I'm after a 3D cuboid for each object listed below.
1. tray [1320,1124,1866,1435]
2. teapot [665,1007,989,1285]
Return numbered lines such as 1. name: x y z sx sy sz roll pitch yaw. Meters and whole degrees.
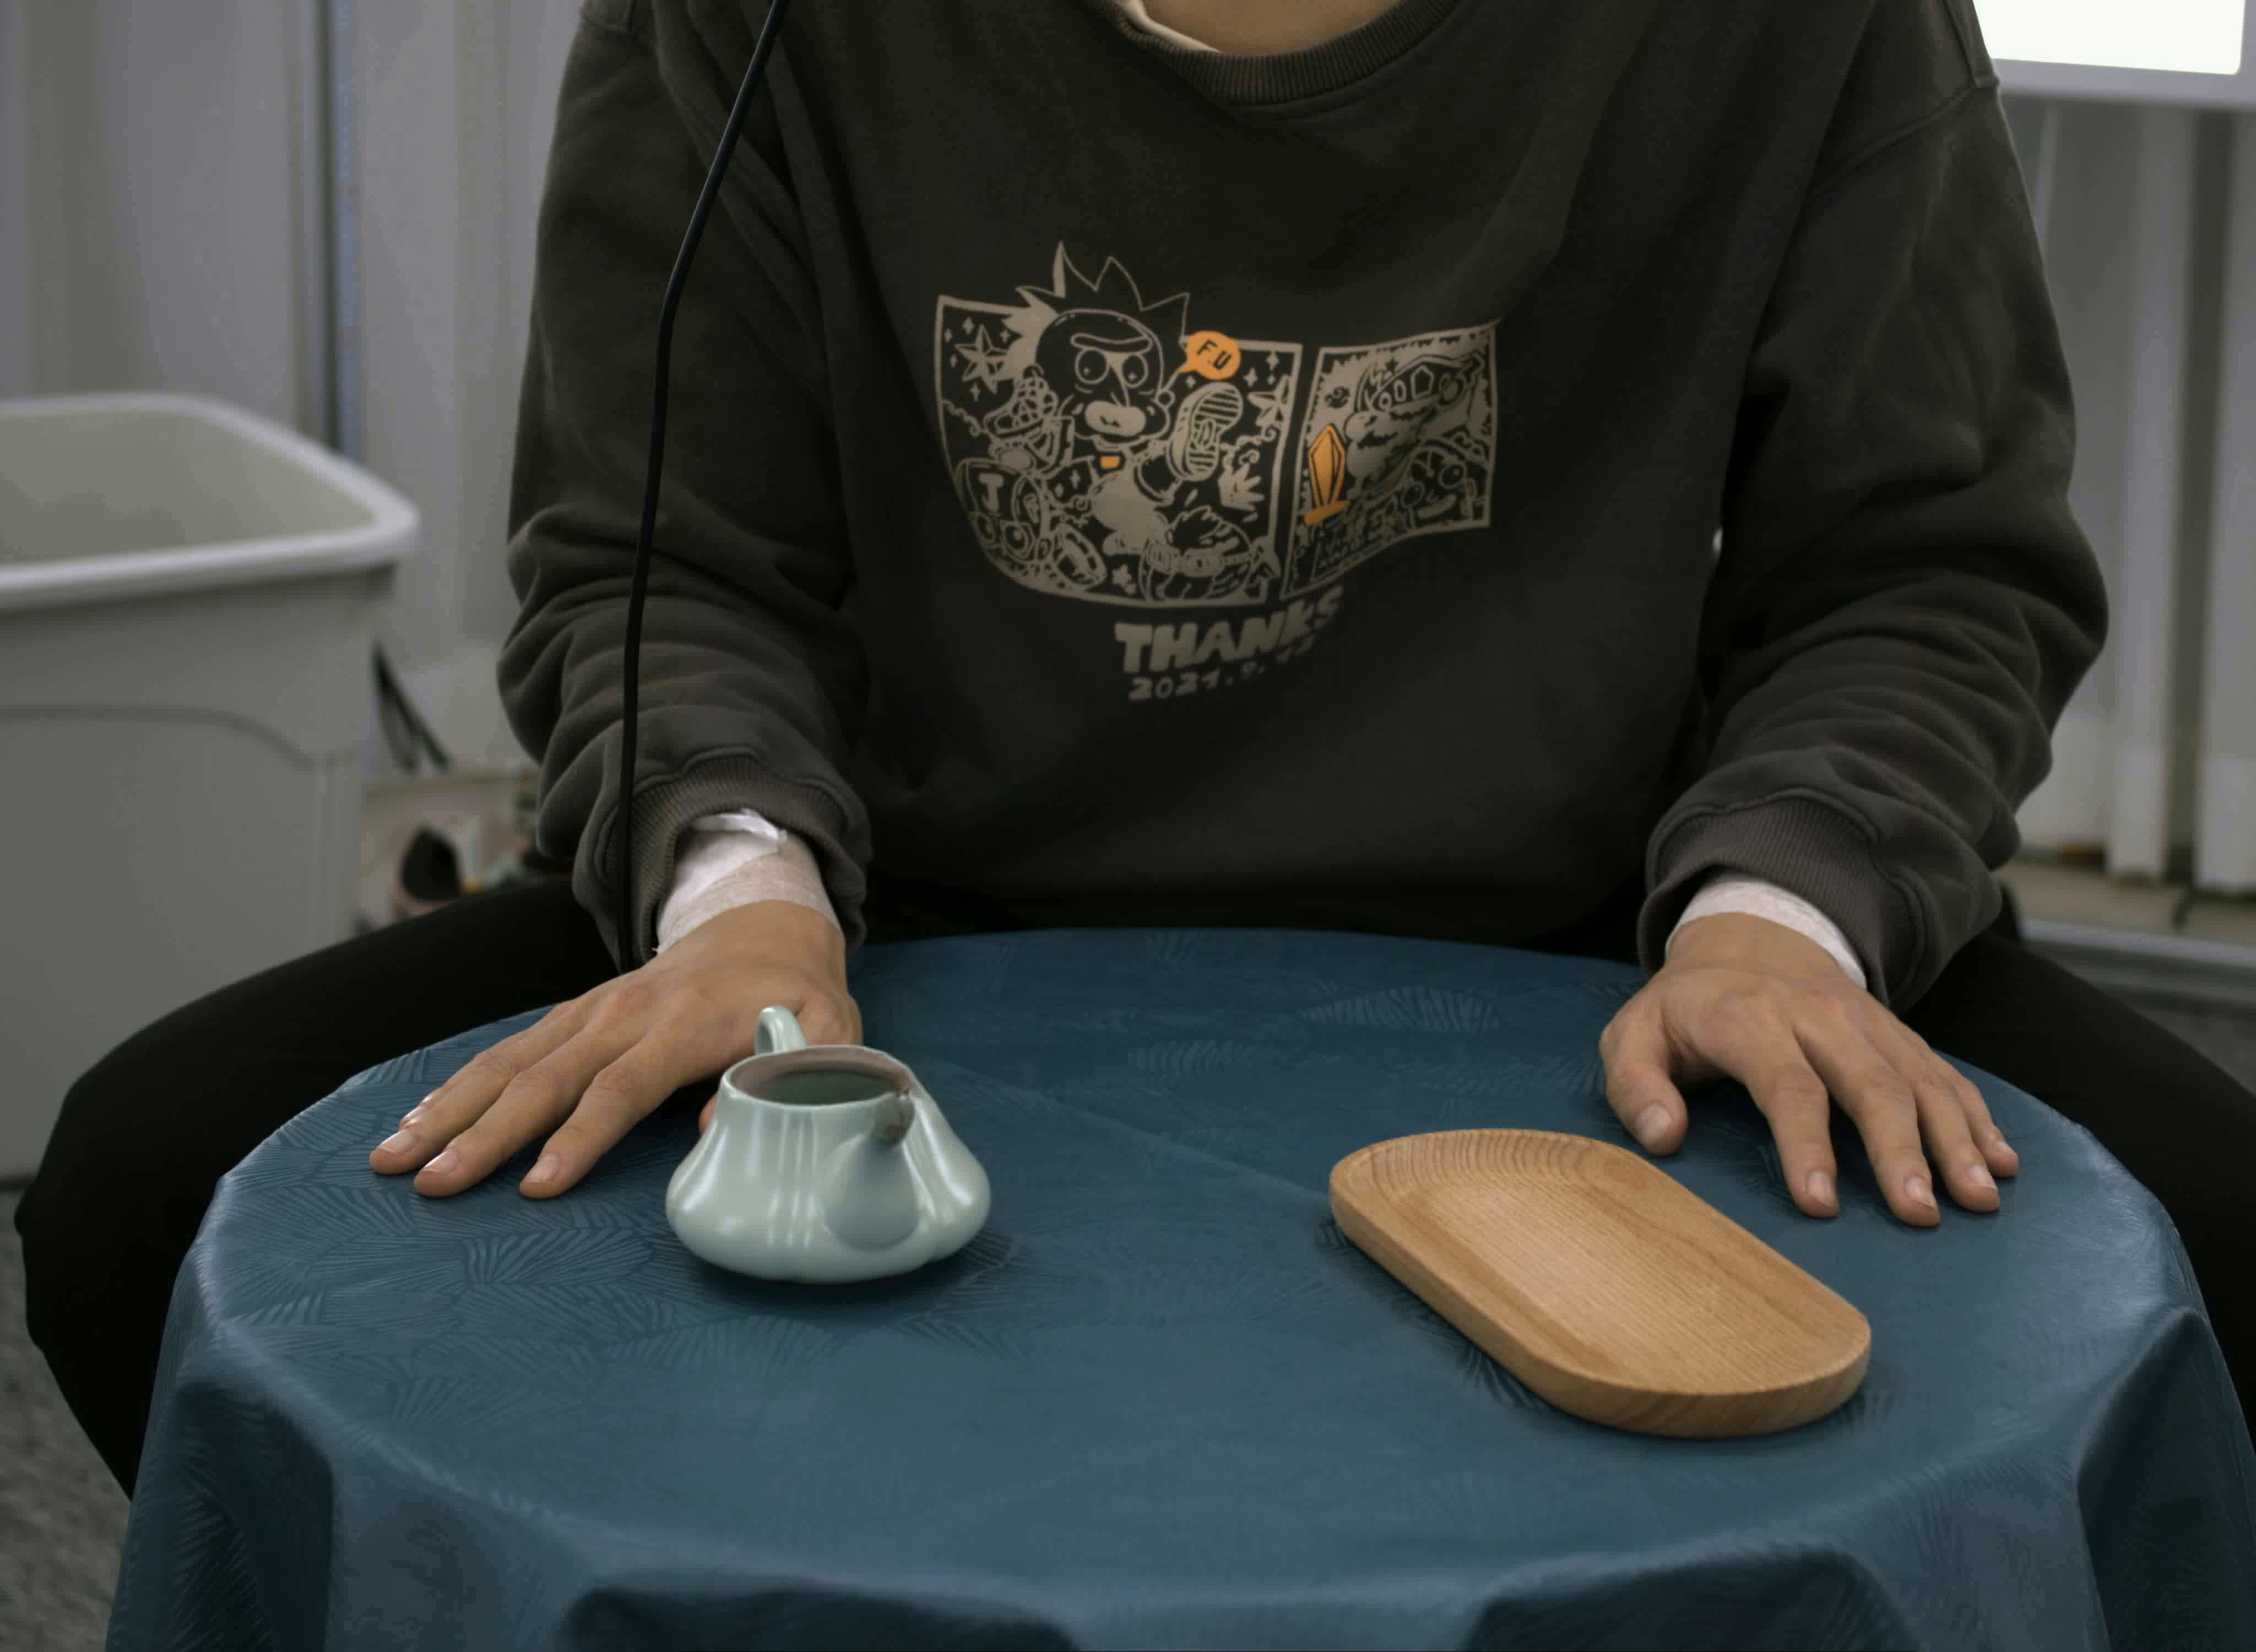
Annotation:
1. tray: 0.133 0.130 1.540 0.102 0.020 0.228 -6 16 -21
2. teapot: -0.091 0.098 1.568 0.096 0.062 0.135 -8 18 -22
